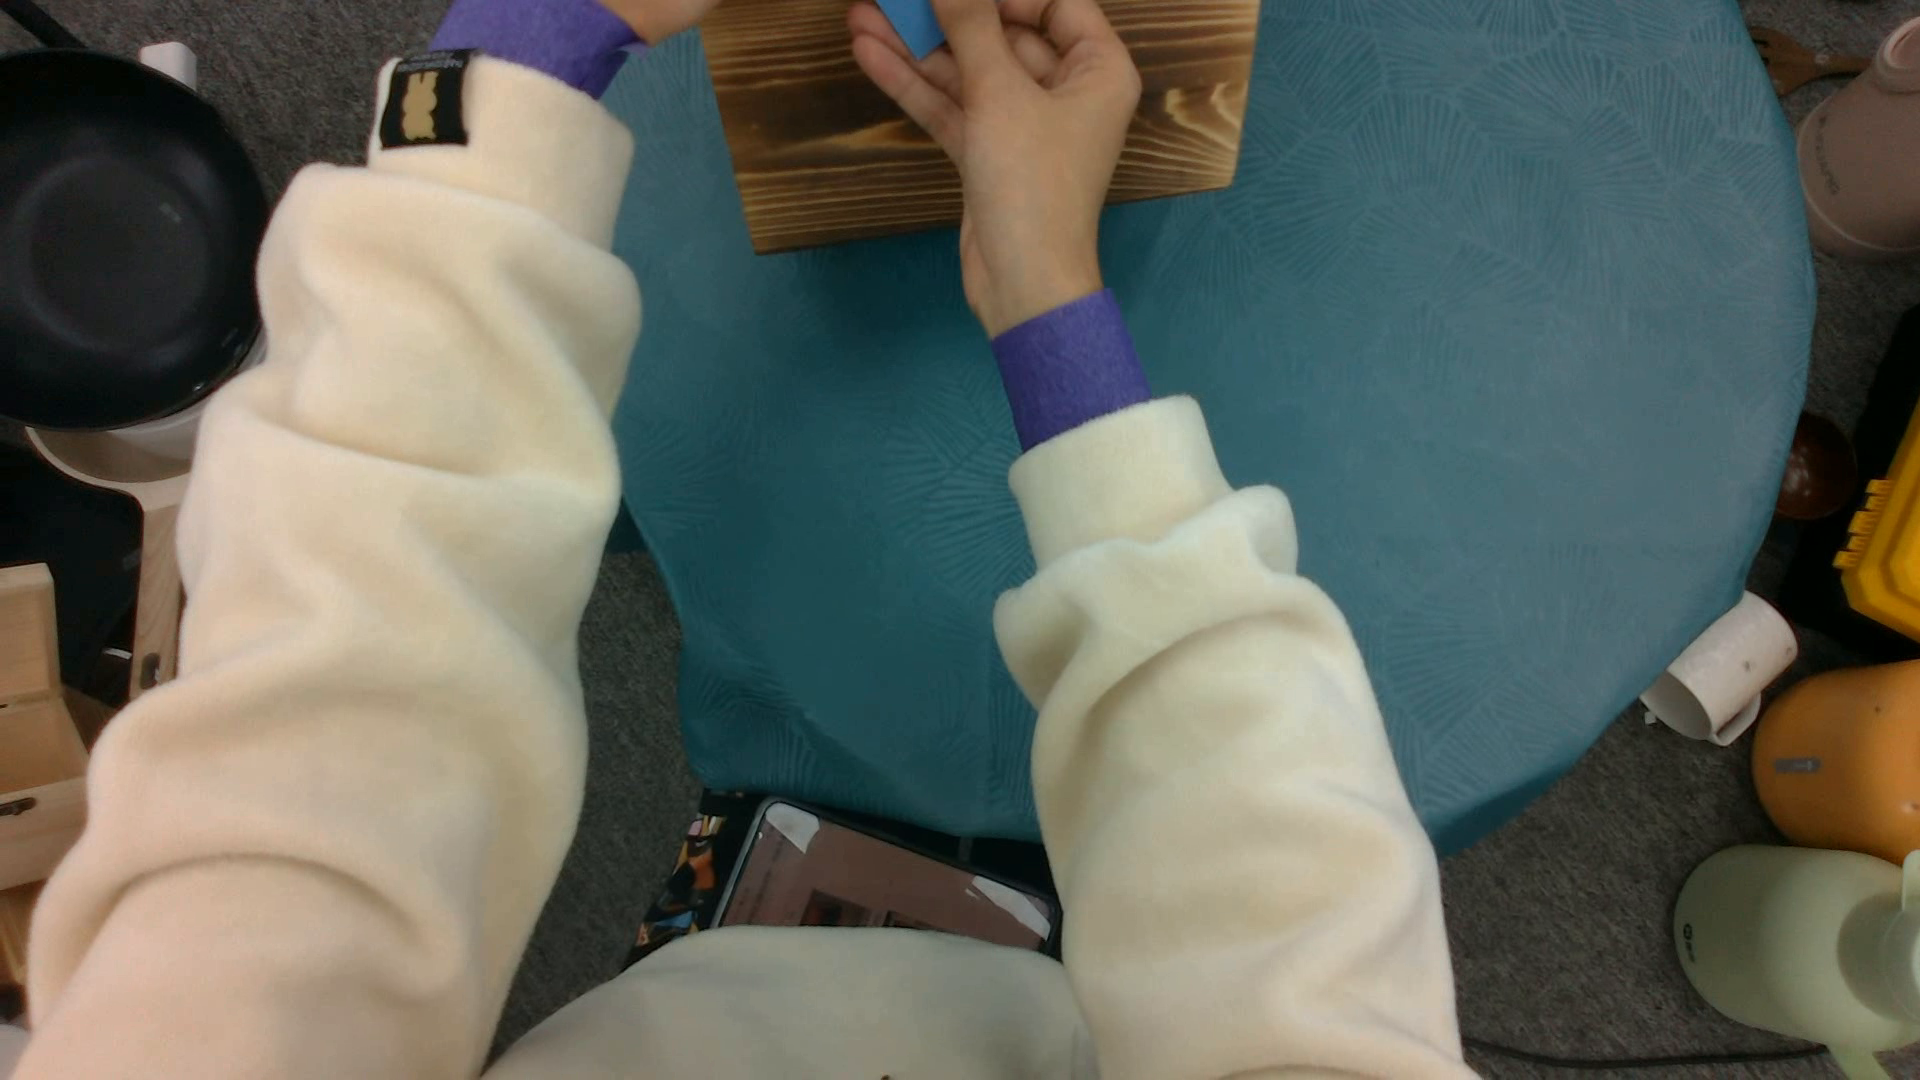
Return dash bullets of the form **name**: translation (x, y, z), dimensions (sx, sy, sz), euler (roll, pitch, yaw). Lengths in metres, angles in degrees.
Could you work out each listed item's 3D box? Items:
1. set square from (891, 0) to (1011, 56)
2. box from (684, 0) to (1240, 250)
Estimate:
- **set square**: translation (0.022, -0.195, 0.458), dimensions (0.132, 0.006, 0.061), euler (-5, 114, -6)
- **box**: translation (-0.027, -0.360, 0.513), dimensions (0.209, 0.374, 0.323), euler (-10, 55, -3)
